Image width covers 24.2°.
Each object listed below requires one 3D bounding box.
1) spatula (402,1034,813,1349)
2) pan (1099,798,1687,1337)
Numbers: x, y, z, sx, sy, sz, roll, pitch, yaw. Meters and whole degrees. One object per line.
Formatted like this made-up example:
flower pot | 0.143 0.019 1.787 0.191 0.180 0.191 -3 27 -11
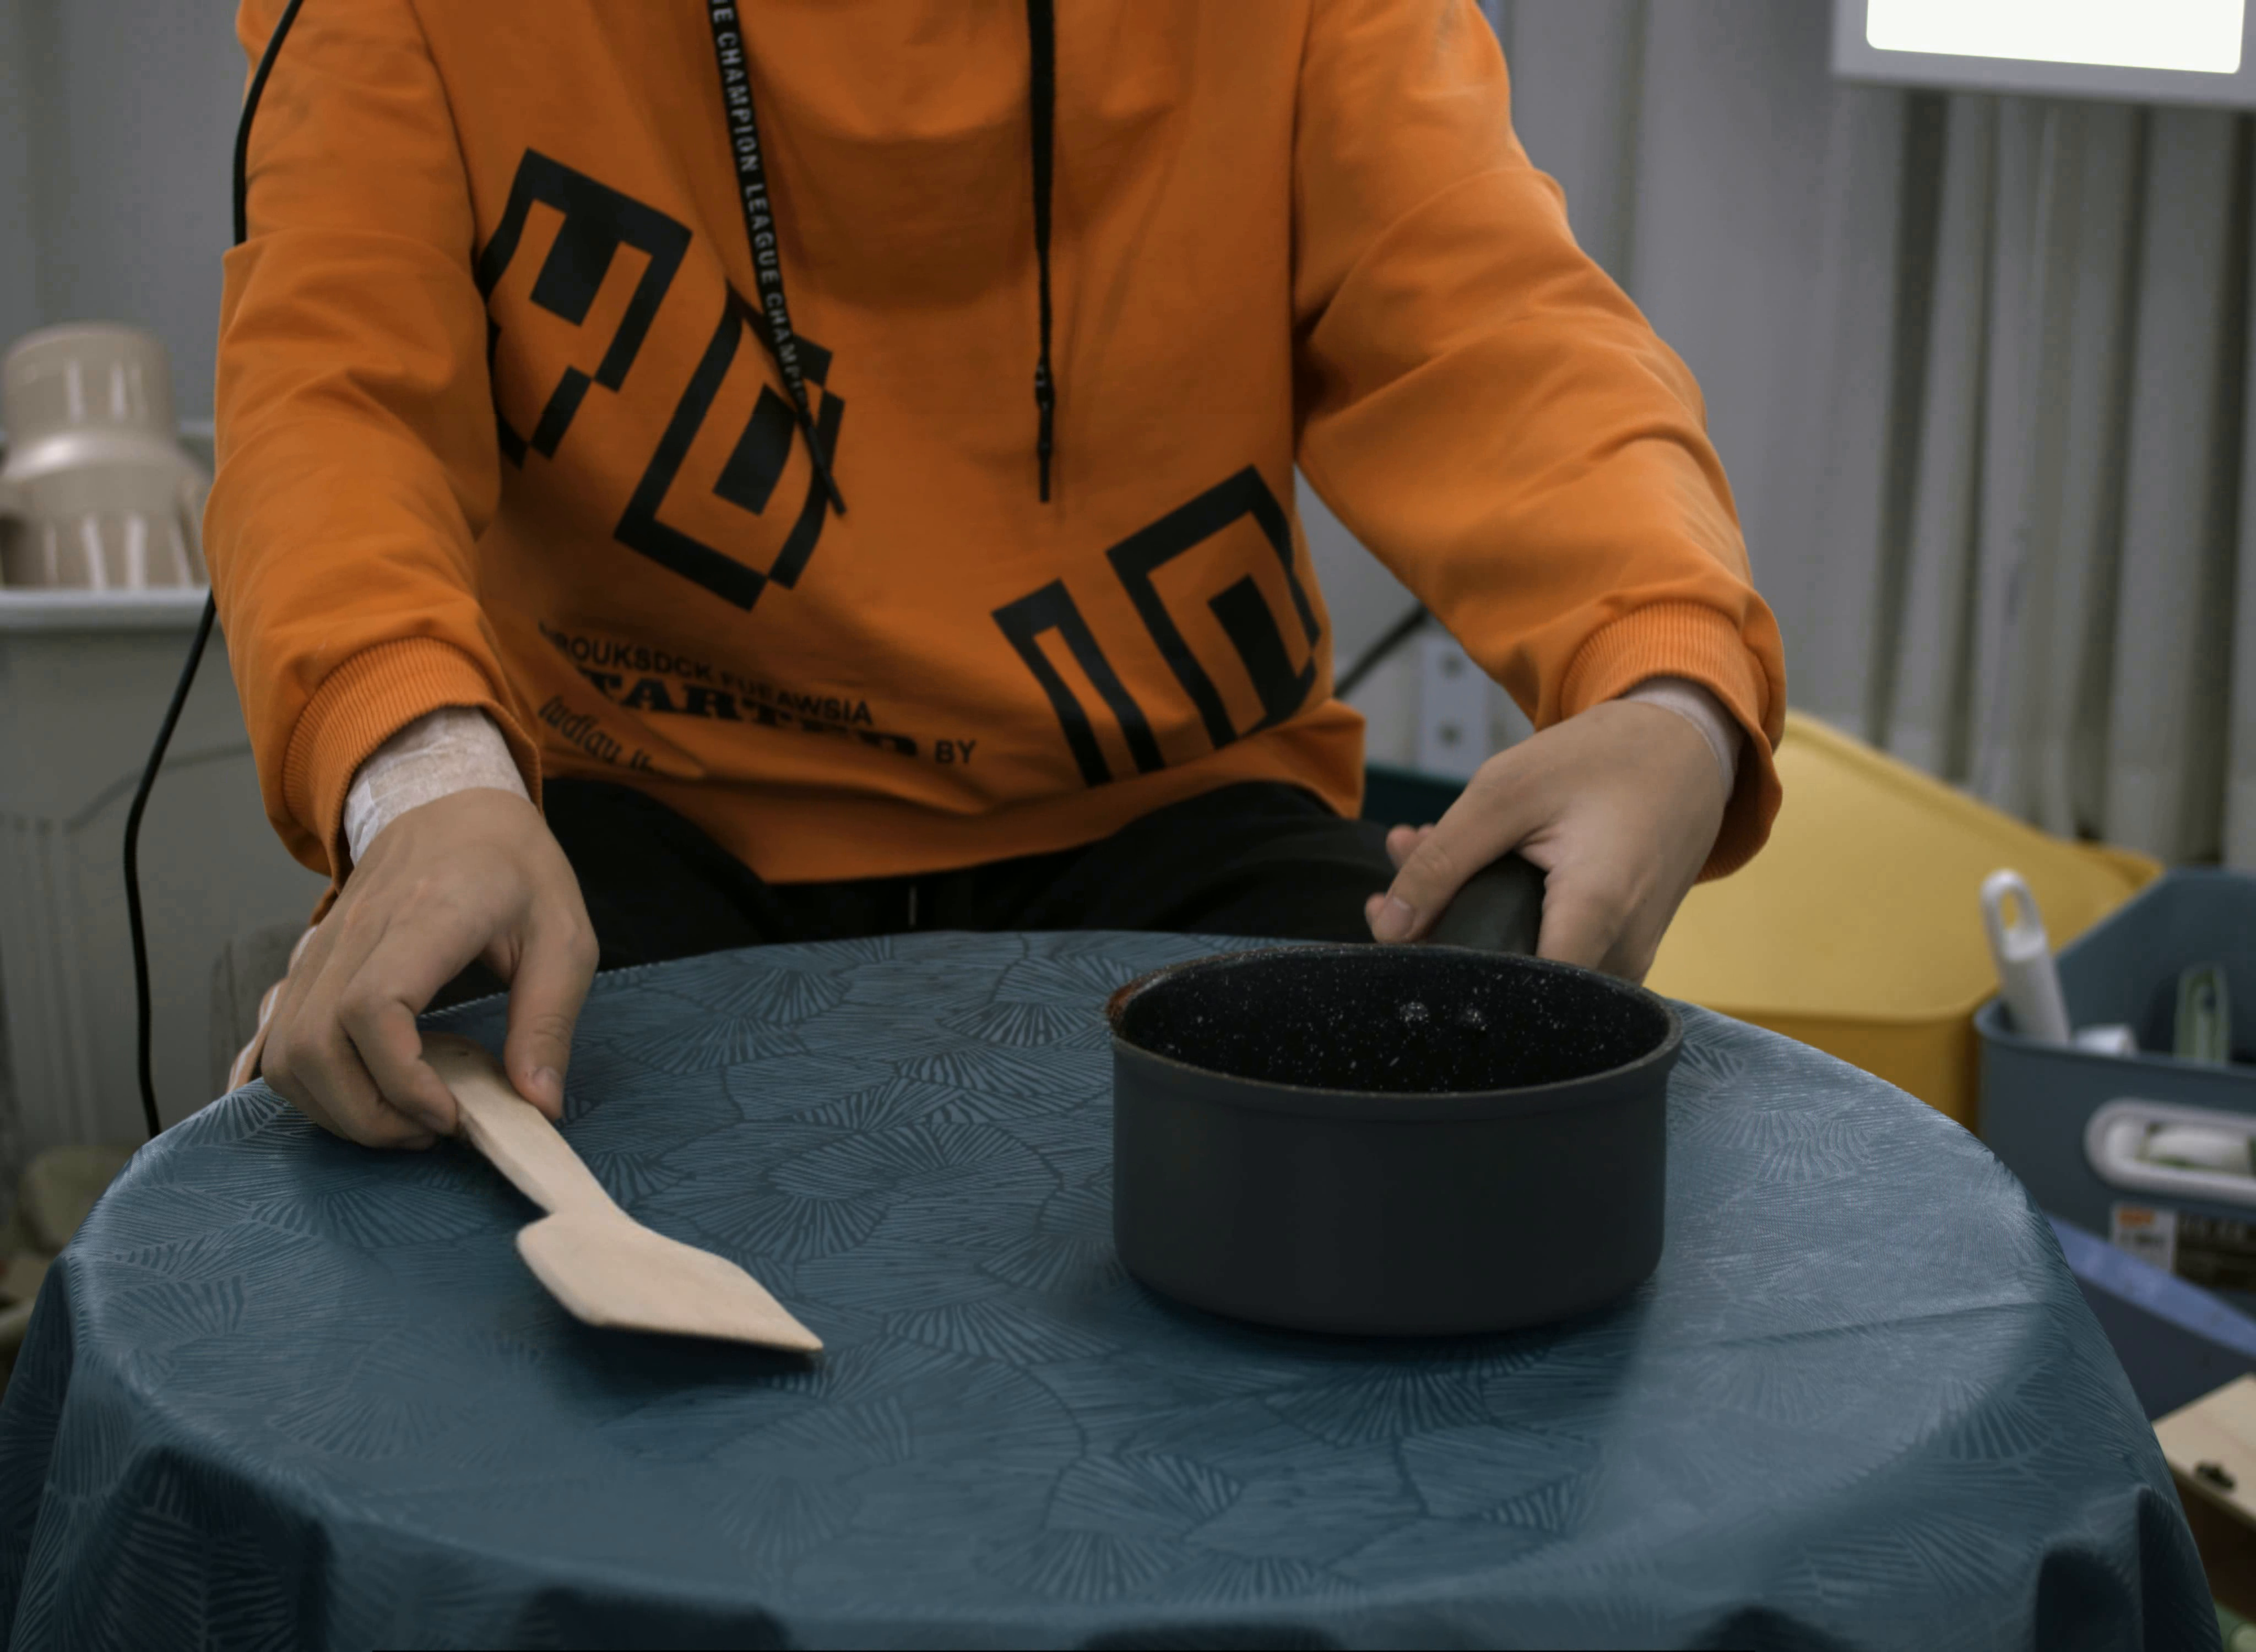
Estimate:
spatula | -0.173 0.108 1.588 0.072 0.011 0.289 5 13 -24
pan | 0.101 0.070 1.621 0.170 0.087 0.329 6 16 17
